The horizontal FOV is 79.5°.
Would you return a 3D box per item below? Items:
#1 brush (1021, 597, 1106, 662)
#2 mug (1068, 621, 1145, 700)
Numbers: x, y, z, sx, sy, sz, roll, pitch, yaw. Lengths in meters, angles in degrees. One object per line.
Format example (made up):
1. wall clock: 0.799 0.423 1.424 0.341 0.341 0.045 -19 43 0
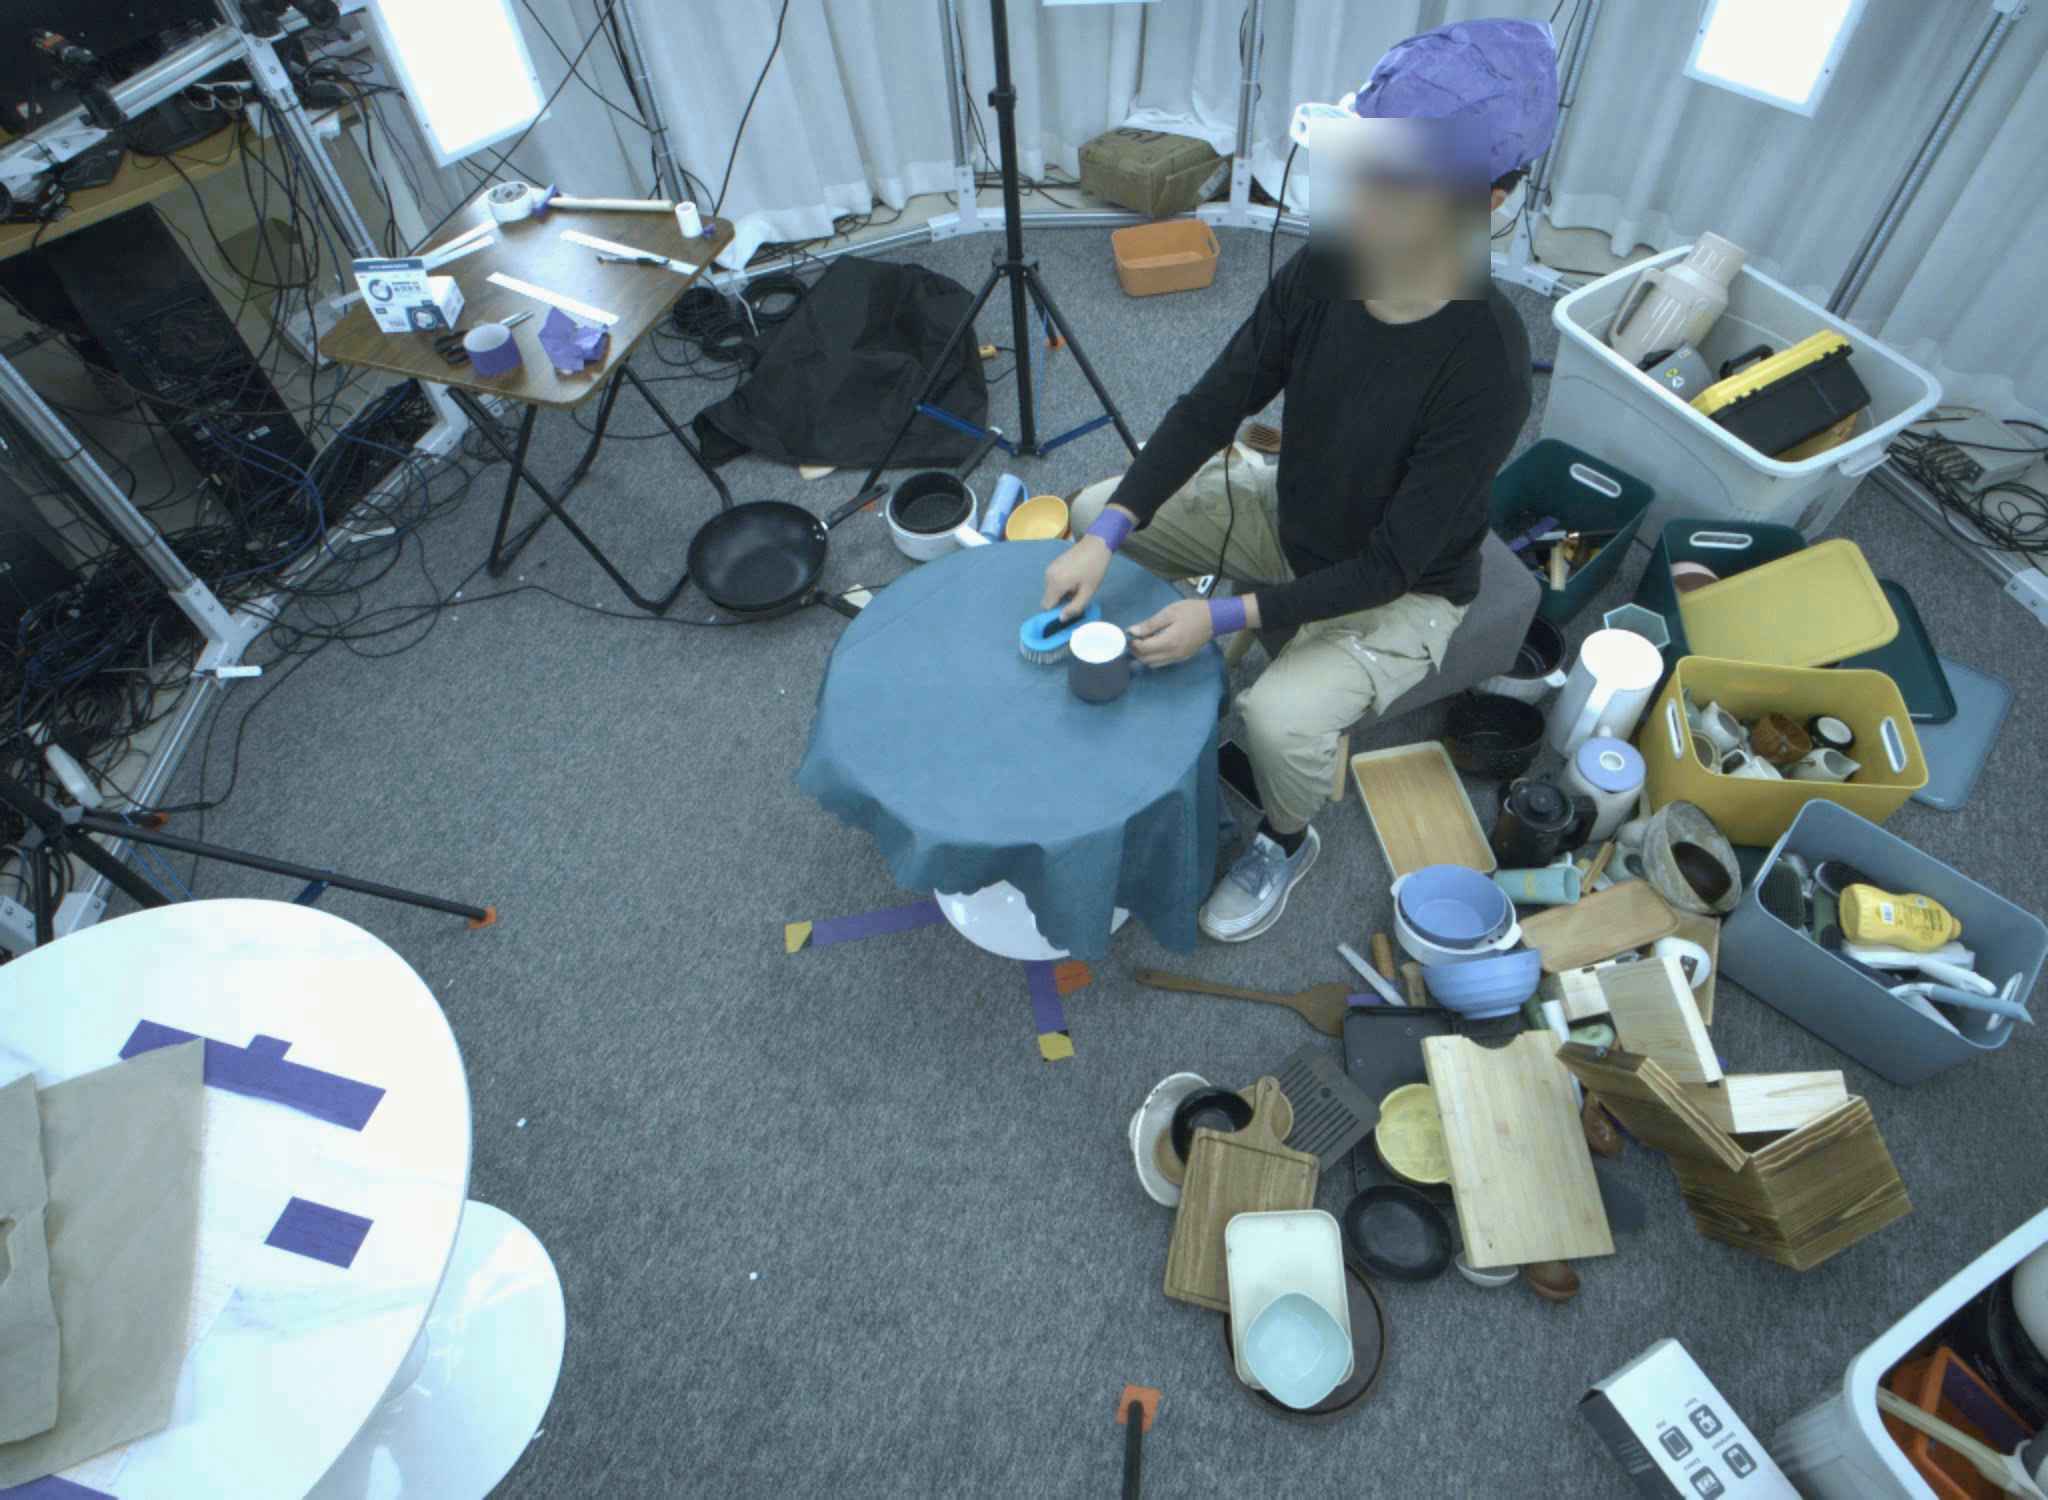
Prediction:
1. brush: 0.058 -0.196 1.886 0.143 0.064 0.082 -28 53 -17
2. mug: 0.123 -0.138 1.825 0.124 0.091 0.092 -25 58 -12
